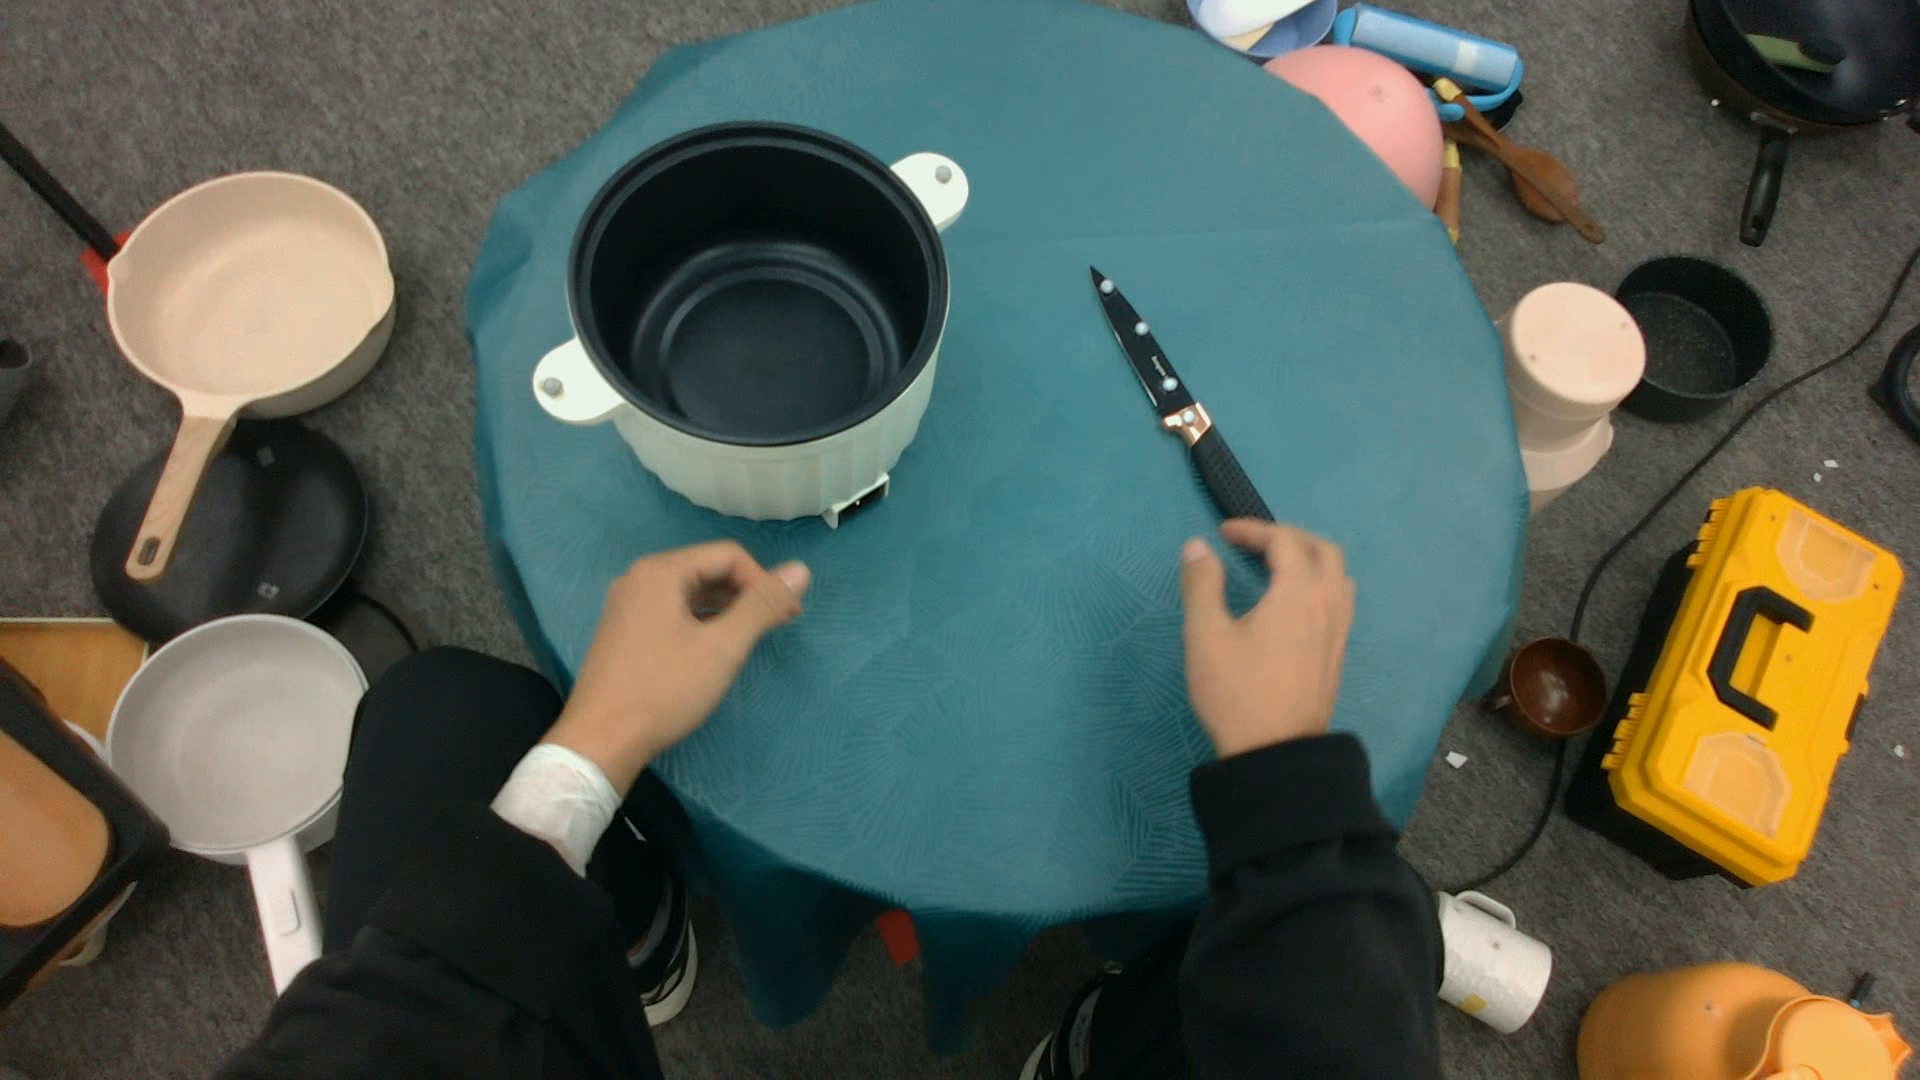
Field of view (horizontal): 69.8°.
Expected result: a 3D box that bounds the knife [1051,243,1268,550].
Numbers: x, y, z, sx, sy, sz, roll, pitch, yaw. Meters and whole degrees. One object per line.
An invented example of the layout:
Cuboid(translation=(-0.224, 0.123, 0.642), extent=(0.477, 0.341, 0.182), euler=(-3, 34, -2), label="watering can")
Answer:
Cuboid(translation=(0.114, -0.089, 0.807), extent=(0.026, 0.017, 0.226), euler=(-29, 74, -1), label="knife")

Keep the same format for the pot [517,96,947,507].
Cuboid(translation=(-0.116, -0.118, 0.720), extent=(0.241, 0.142, 0.190), euler=(-35, 80, -19), label="pot")
